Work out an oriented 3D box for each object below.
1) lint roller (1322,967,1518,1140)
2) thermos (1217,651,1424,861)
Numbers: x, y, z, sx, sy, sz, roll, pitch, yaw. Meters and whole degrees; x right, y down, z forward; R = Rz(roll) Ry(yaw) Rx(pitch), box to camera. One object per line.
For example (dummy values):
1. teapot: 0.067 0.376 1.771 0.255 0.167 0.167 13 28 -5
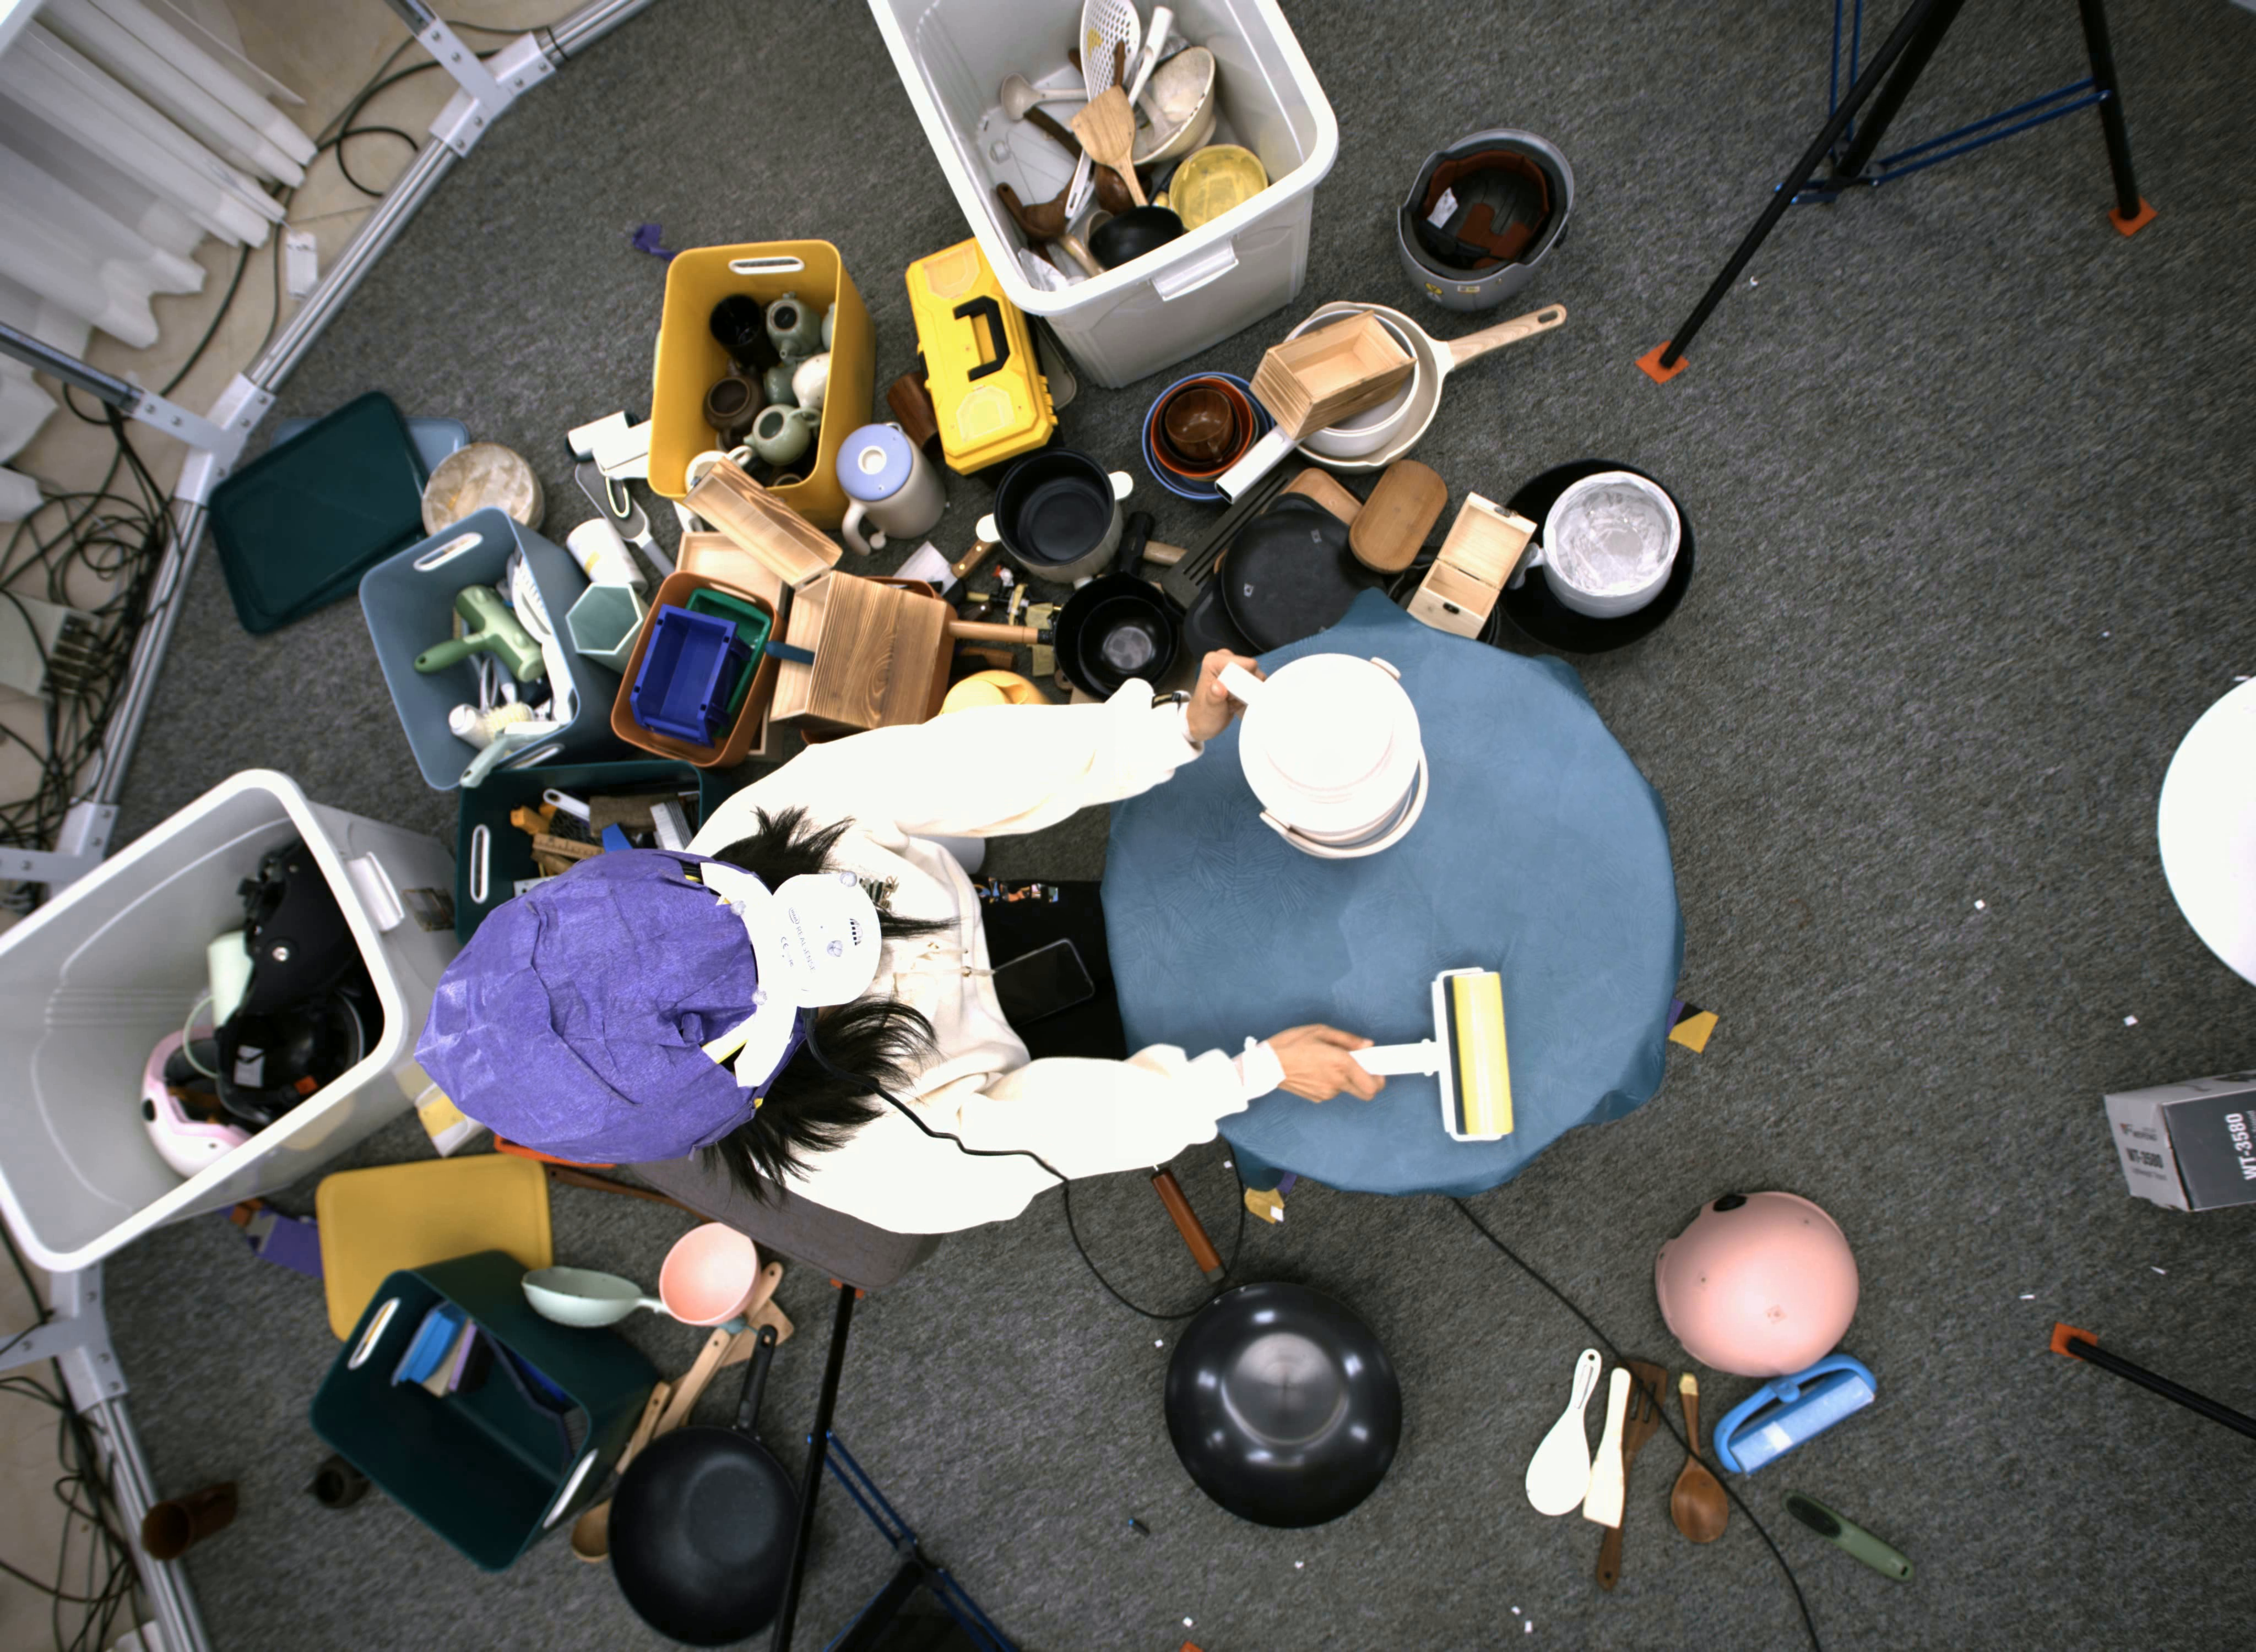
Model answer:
1. lint roller: 0.295 0.235 1.399 0.191 0.051 0.174 -5 88 -10
2. thermos: 0.180 -0.073 1.284 0.206 0.407 0.176 36 92 11
